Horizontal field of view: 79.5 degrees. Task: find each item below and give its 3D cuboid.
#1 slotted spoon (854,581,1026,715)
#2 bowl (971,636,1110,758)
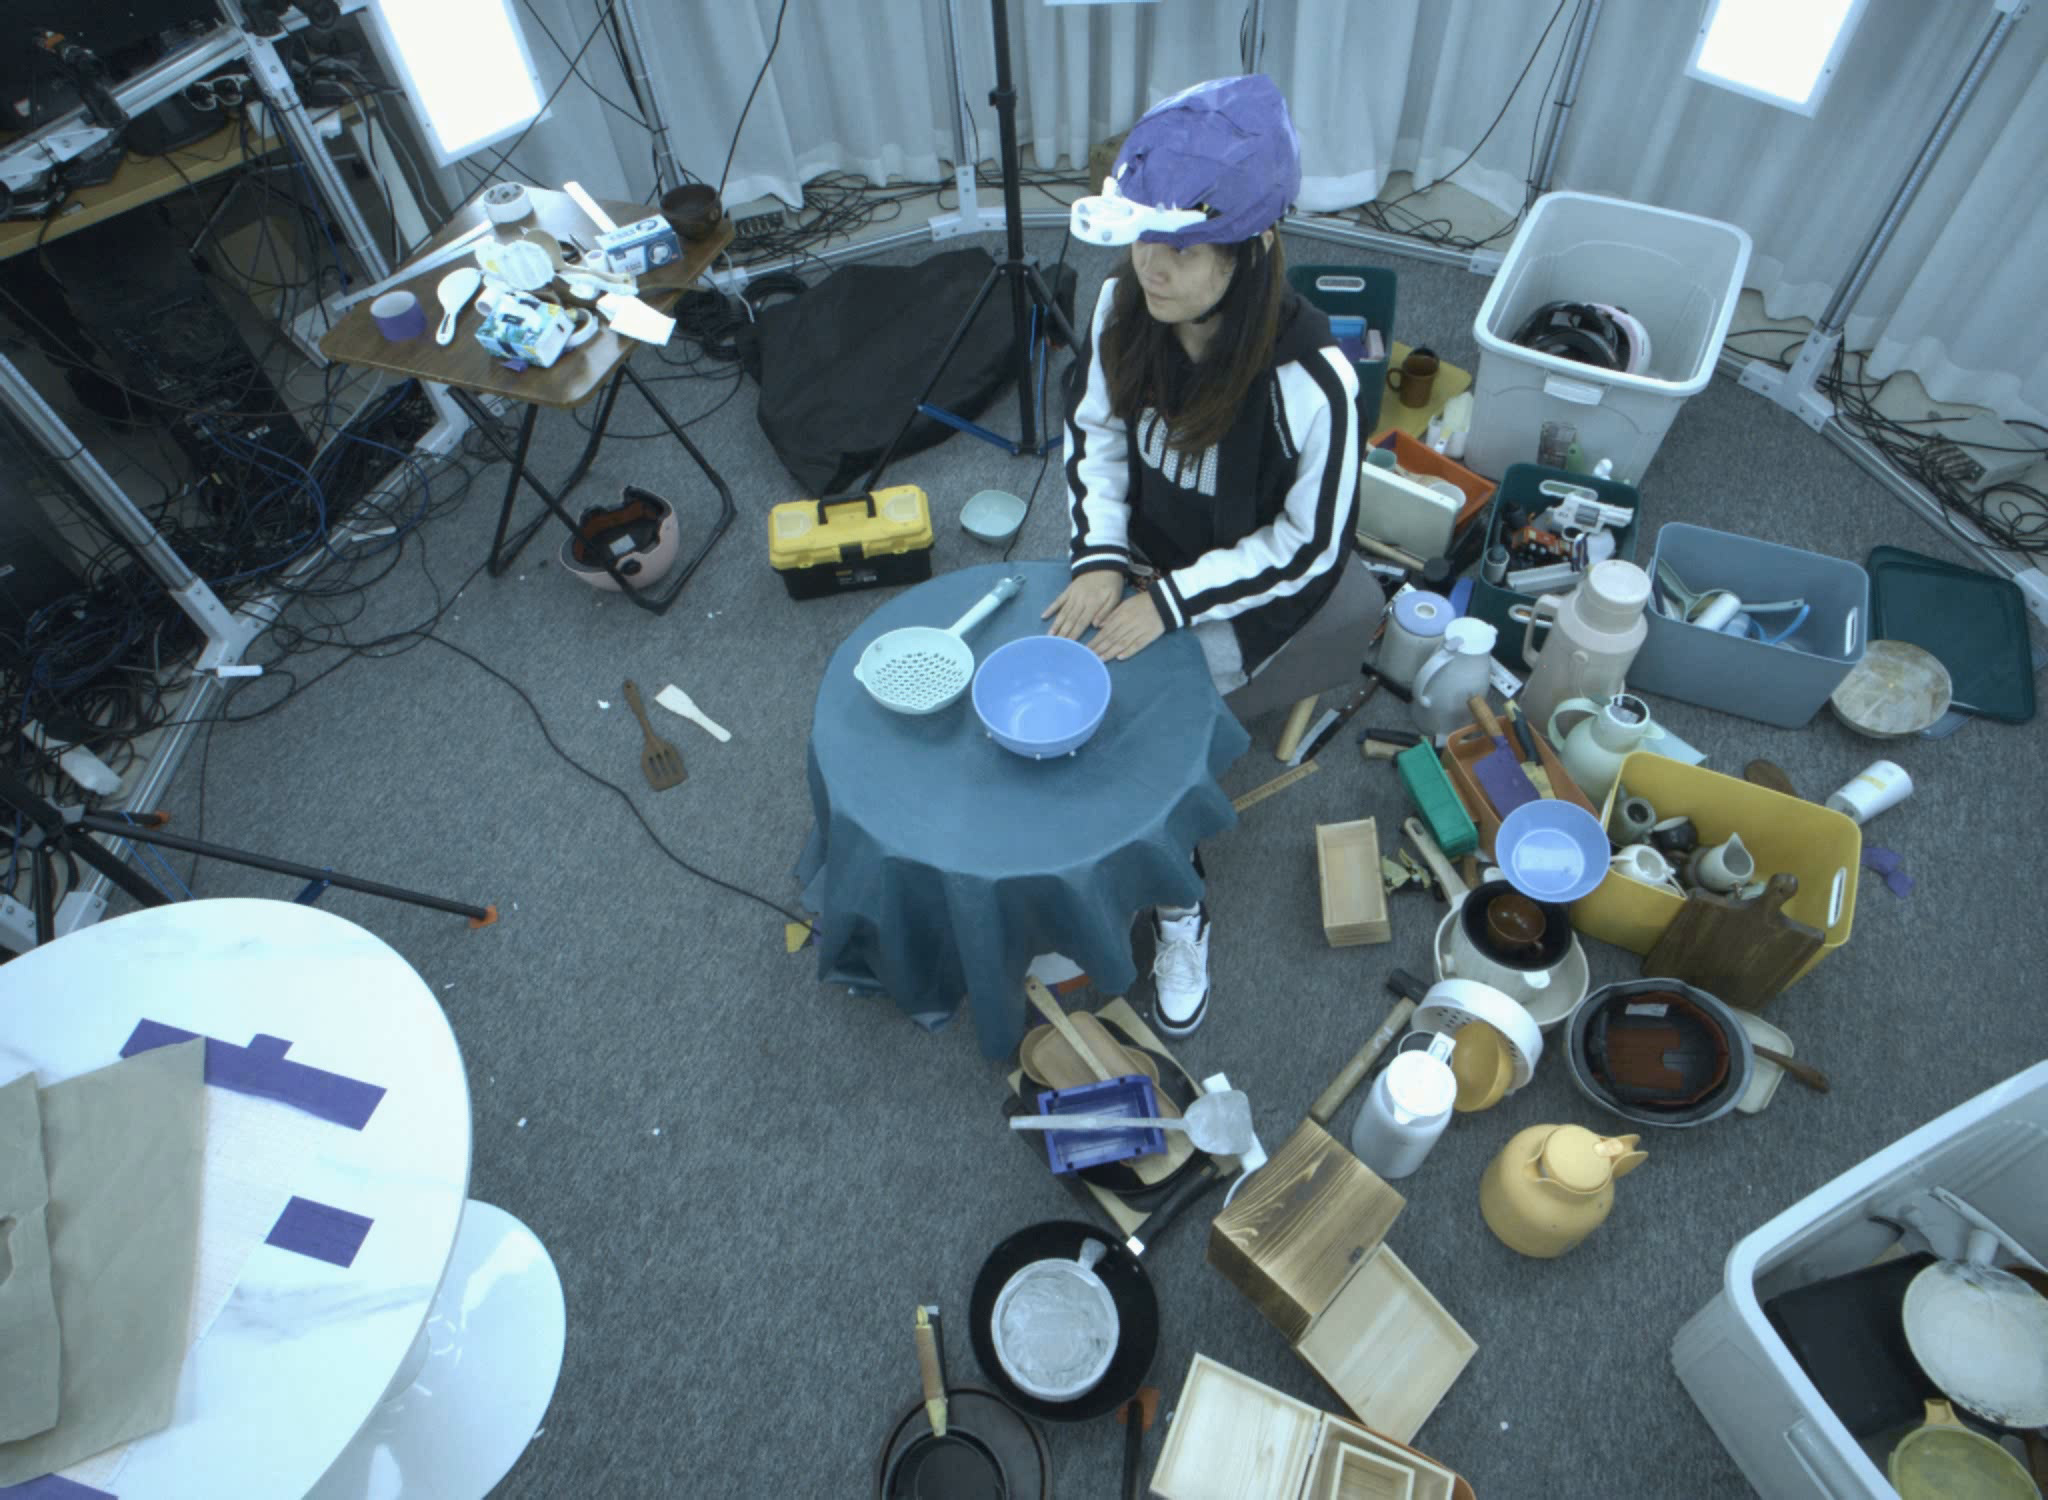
[{"bbox_3d":[-0.105,-0.173,1.878,0.167,0.076,0.360,28,59,19],"label":"slotted spoon"},{"bbox_3d":[0.025,-0.061,1.772,0.196,0.096,0.194,-1,54,2],"label":"bowl"}]
